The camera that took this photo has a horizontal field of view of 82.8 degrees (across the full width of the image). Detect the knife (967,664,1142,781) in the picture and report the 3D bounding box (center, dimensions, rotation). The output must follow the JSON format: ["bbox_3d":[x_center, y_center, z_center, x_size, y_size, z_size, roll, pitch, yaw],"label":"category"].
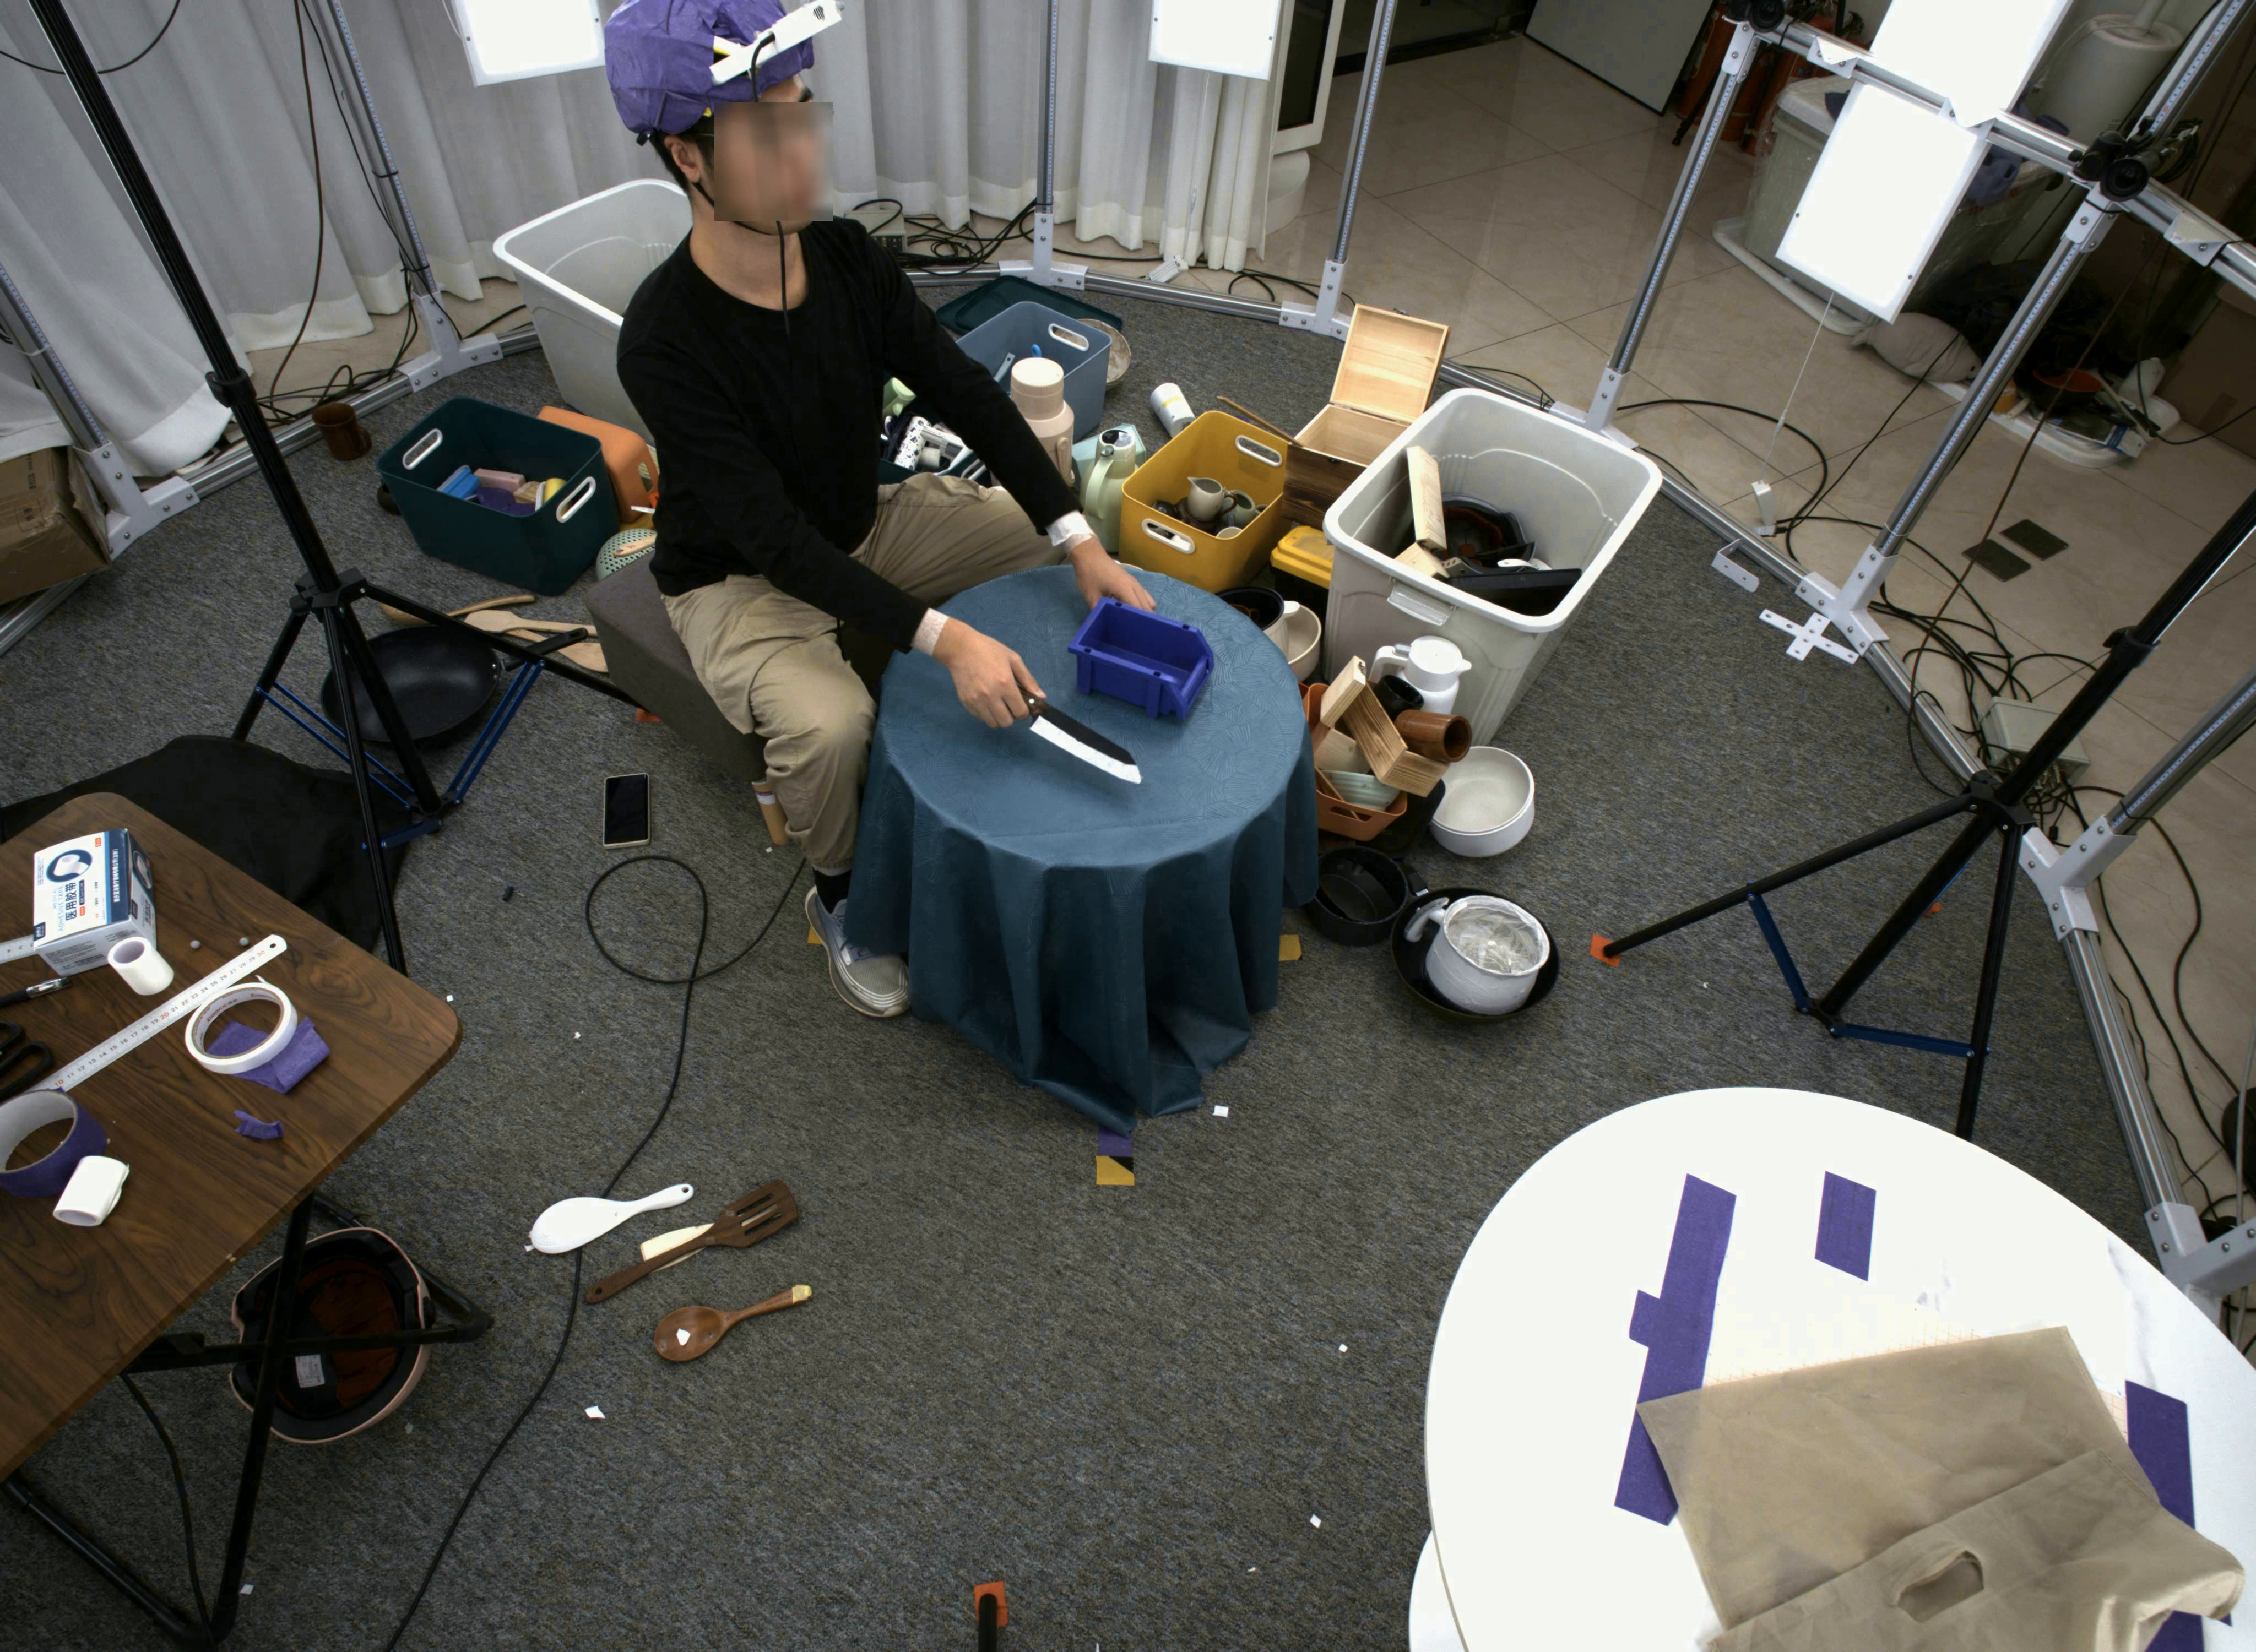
[{"bbox_3d":[-0.100,-0.138,1.712,0.291,0.019,0.051,33,74,15],"label":"knife"}]

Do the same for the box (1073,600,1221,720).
[{"bbox_3d":[0.029,-0.233,1.821,0.180,0.080,0.127,20,50,16],"label":"box"}]
